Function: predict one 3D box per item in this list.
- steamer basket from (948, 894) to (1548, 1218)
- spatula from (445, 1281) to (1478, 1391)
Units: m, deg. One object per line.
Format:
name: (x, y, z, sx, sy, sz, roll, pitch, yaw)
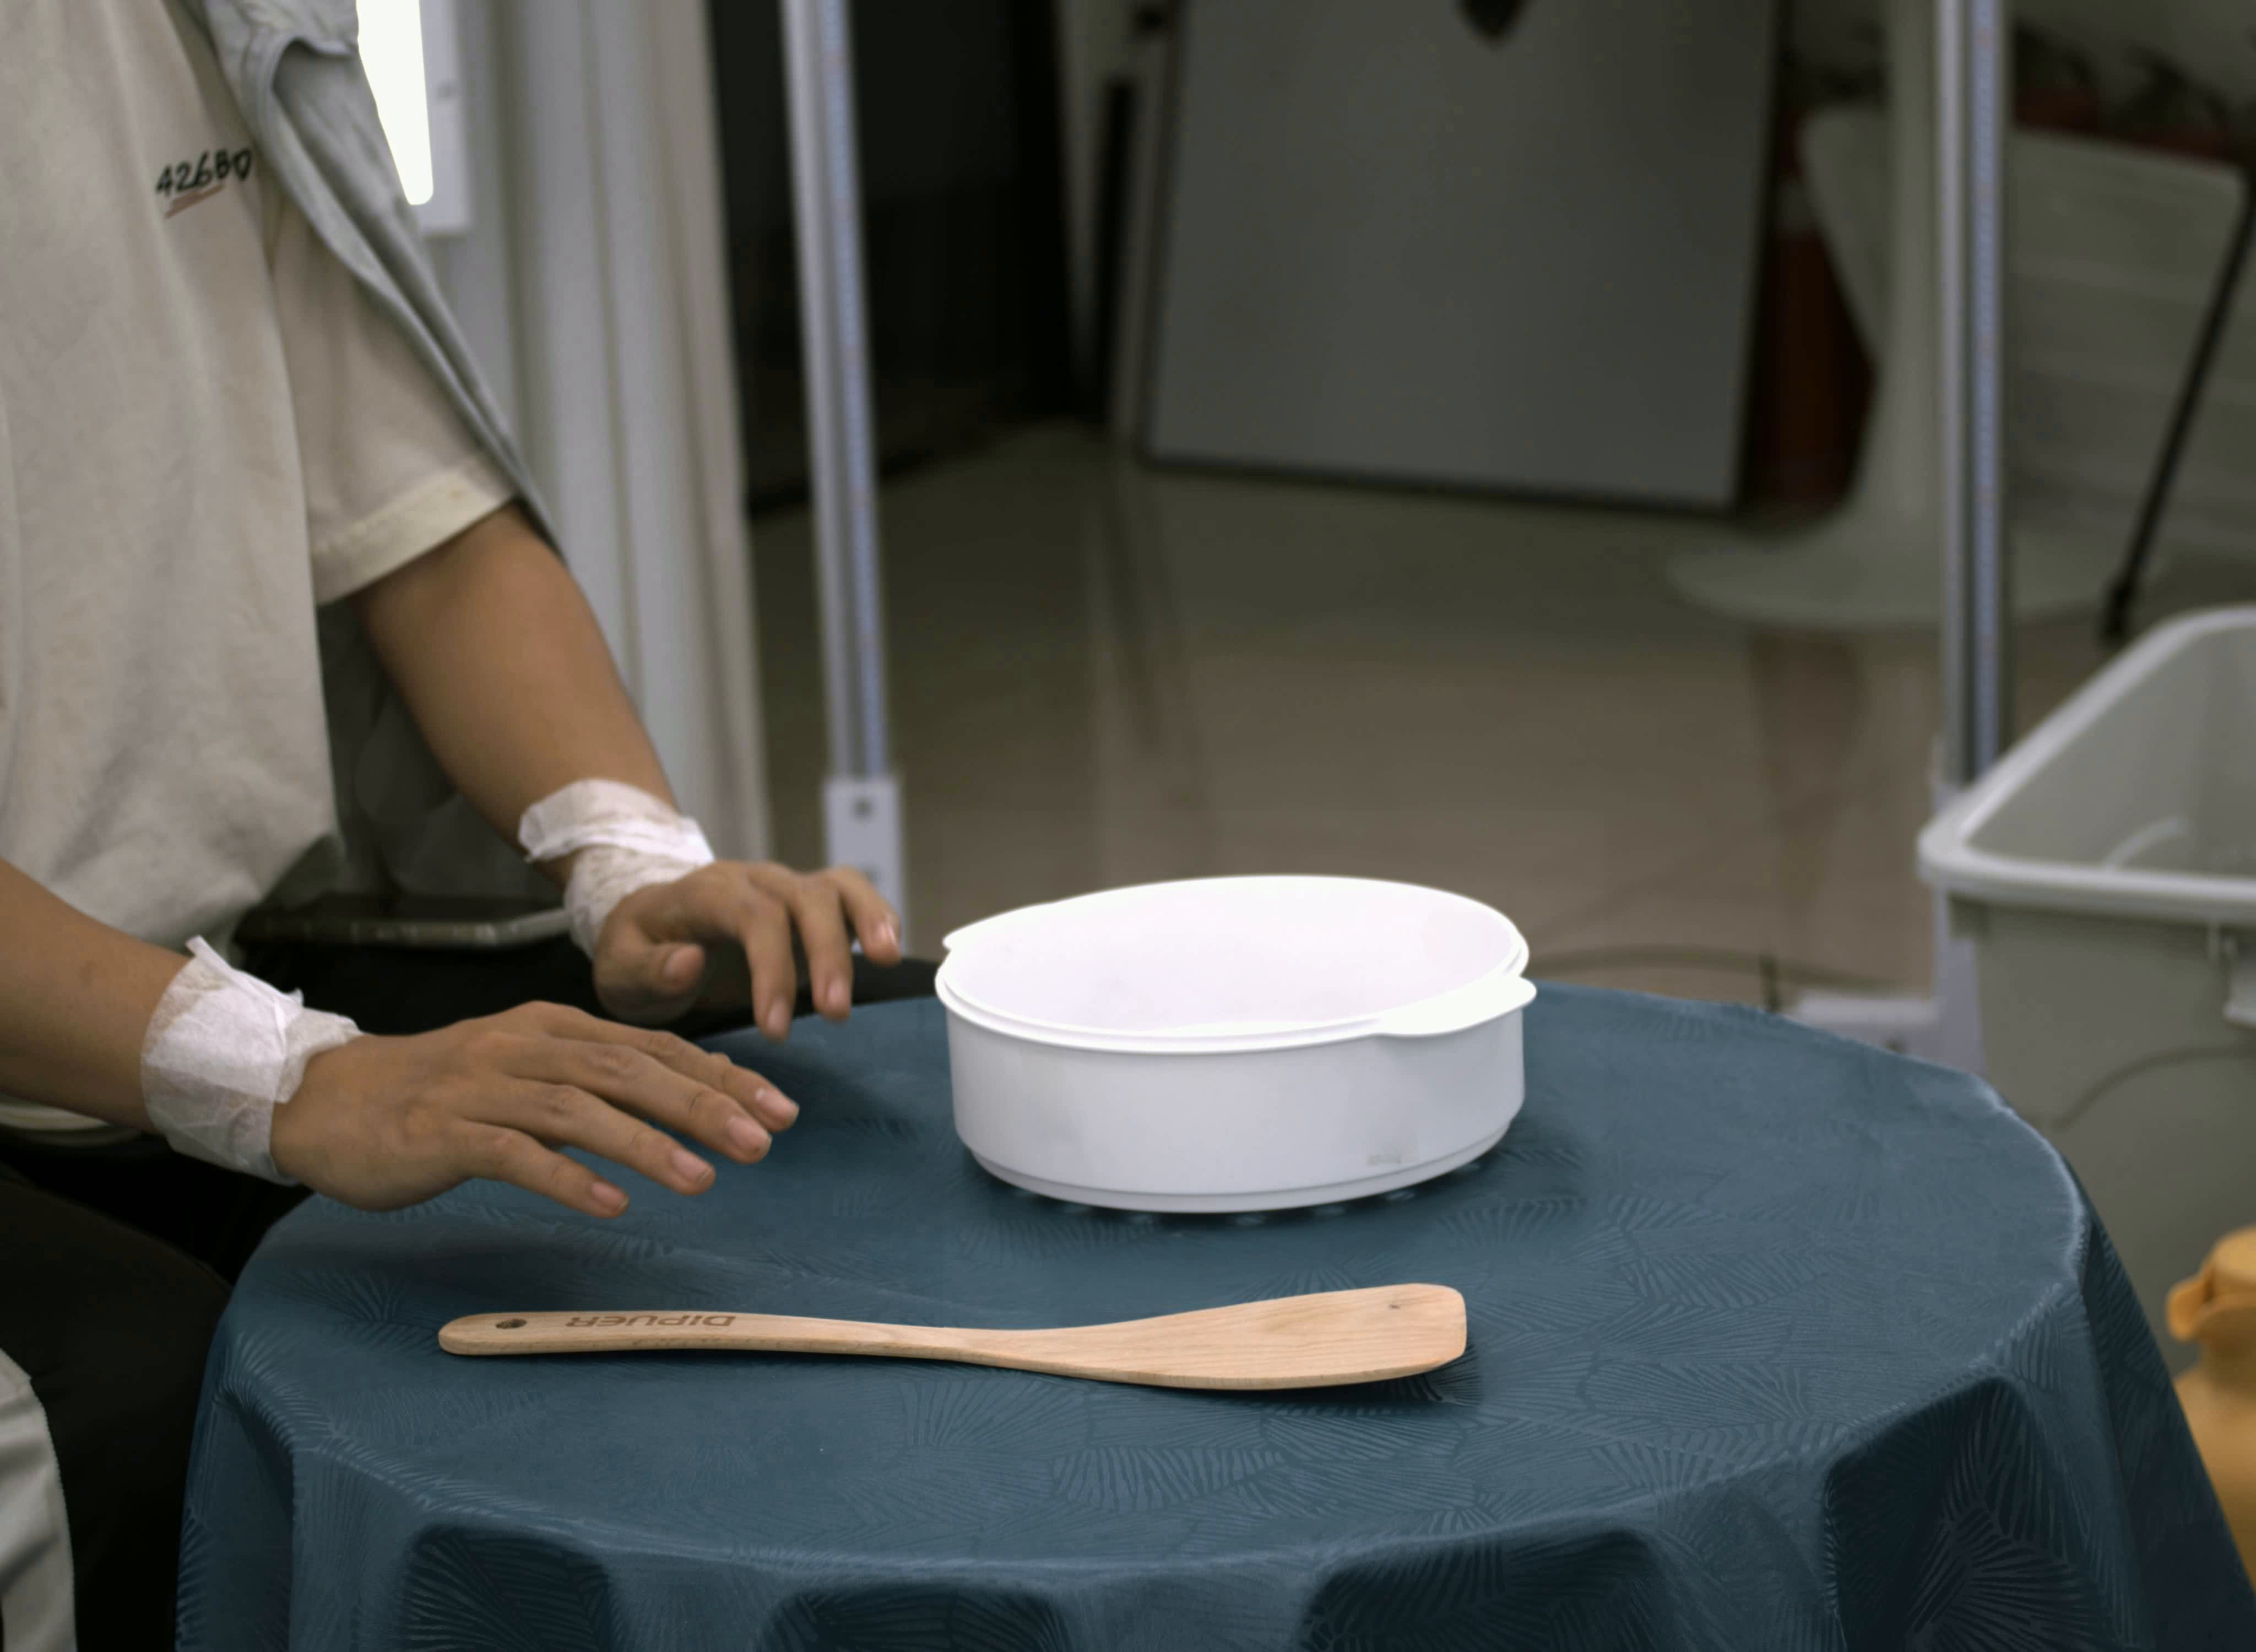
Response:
steamer basket: (0.040, 0.077, 1.808, 0.232, 0.070, 0.198, 8, 17, 43)
spatula: (-0.051, 0.153, 1.625, 0.326, 0.017, 0.079, -1, 13, 14)
